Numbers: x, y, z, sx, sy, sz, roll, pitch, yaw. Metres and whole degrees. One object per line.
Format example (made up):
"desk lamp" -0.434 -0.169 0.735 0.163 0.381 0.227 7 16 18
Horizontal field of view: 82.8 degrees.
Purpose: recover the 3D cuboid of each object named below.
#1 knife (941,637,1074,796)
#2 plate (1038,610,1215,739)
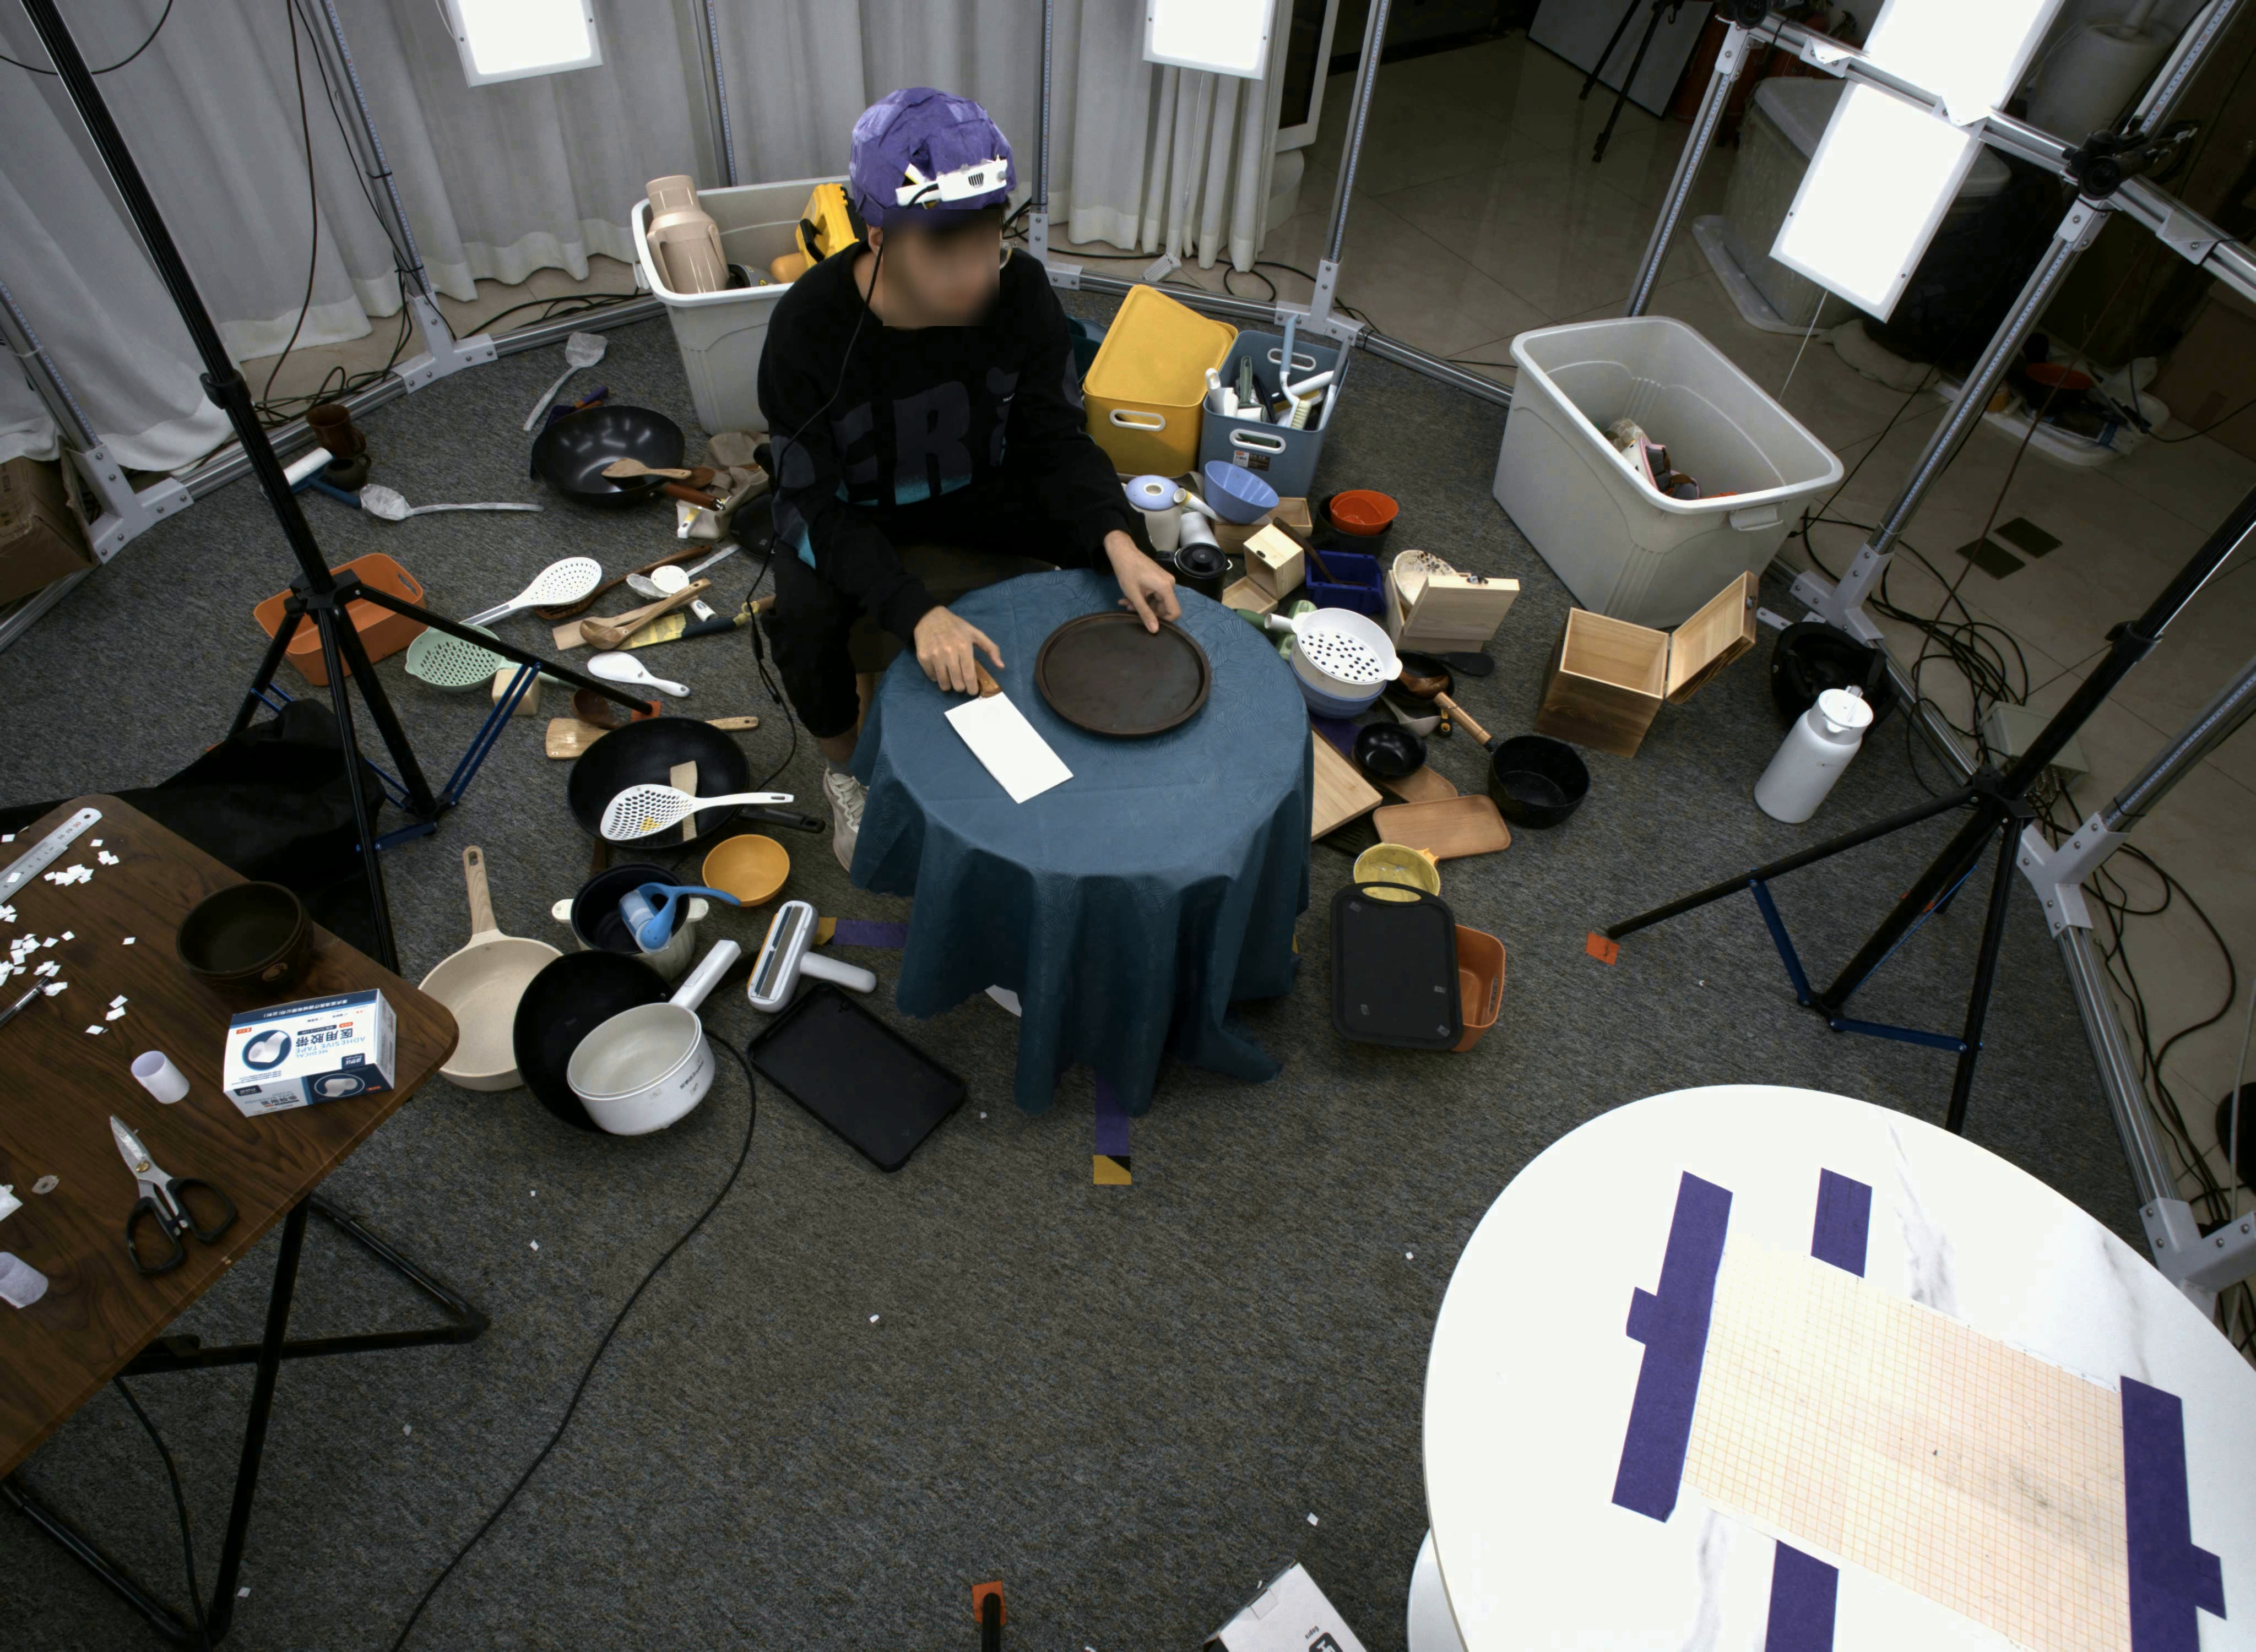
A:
"knife" -0.191 -0.151 1.777 0.093 0.020 0.311 -27 58 -22
"plate" -0.002 -0.218 1.842 0.254 0.028 0.261 3 49 -3
